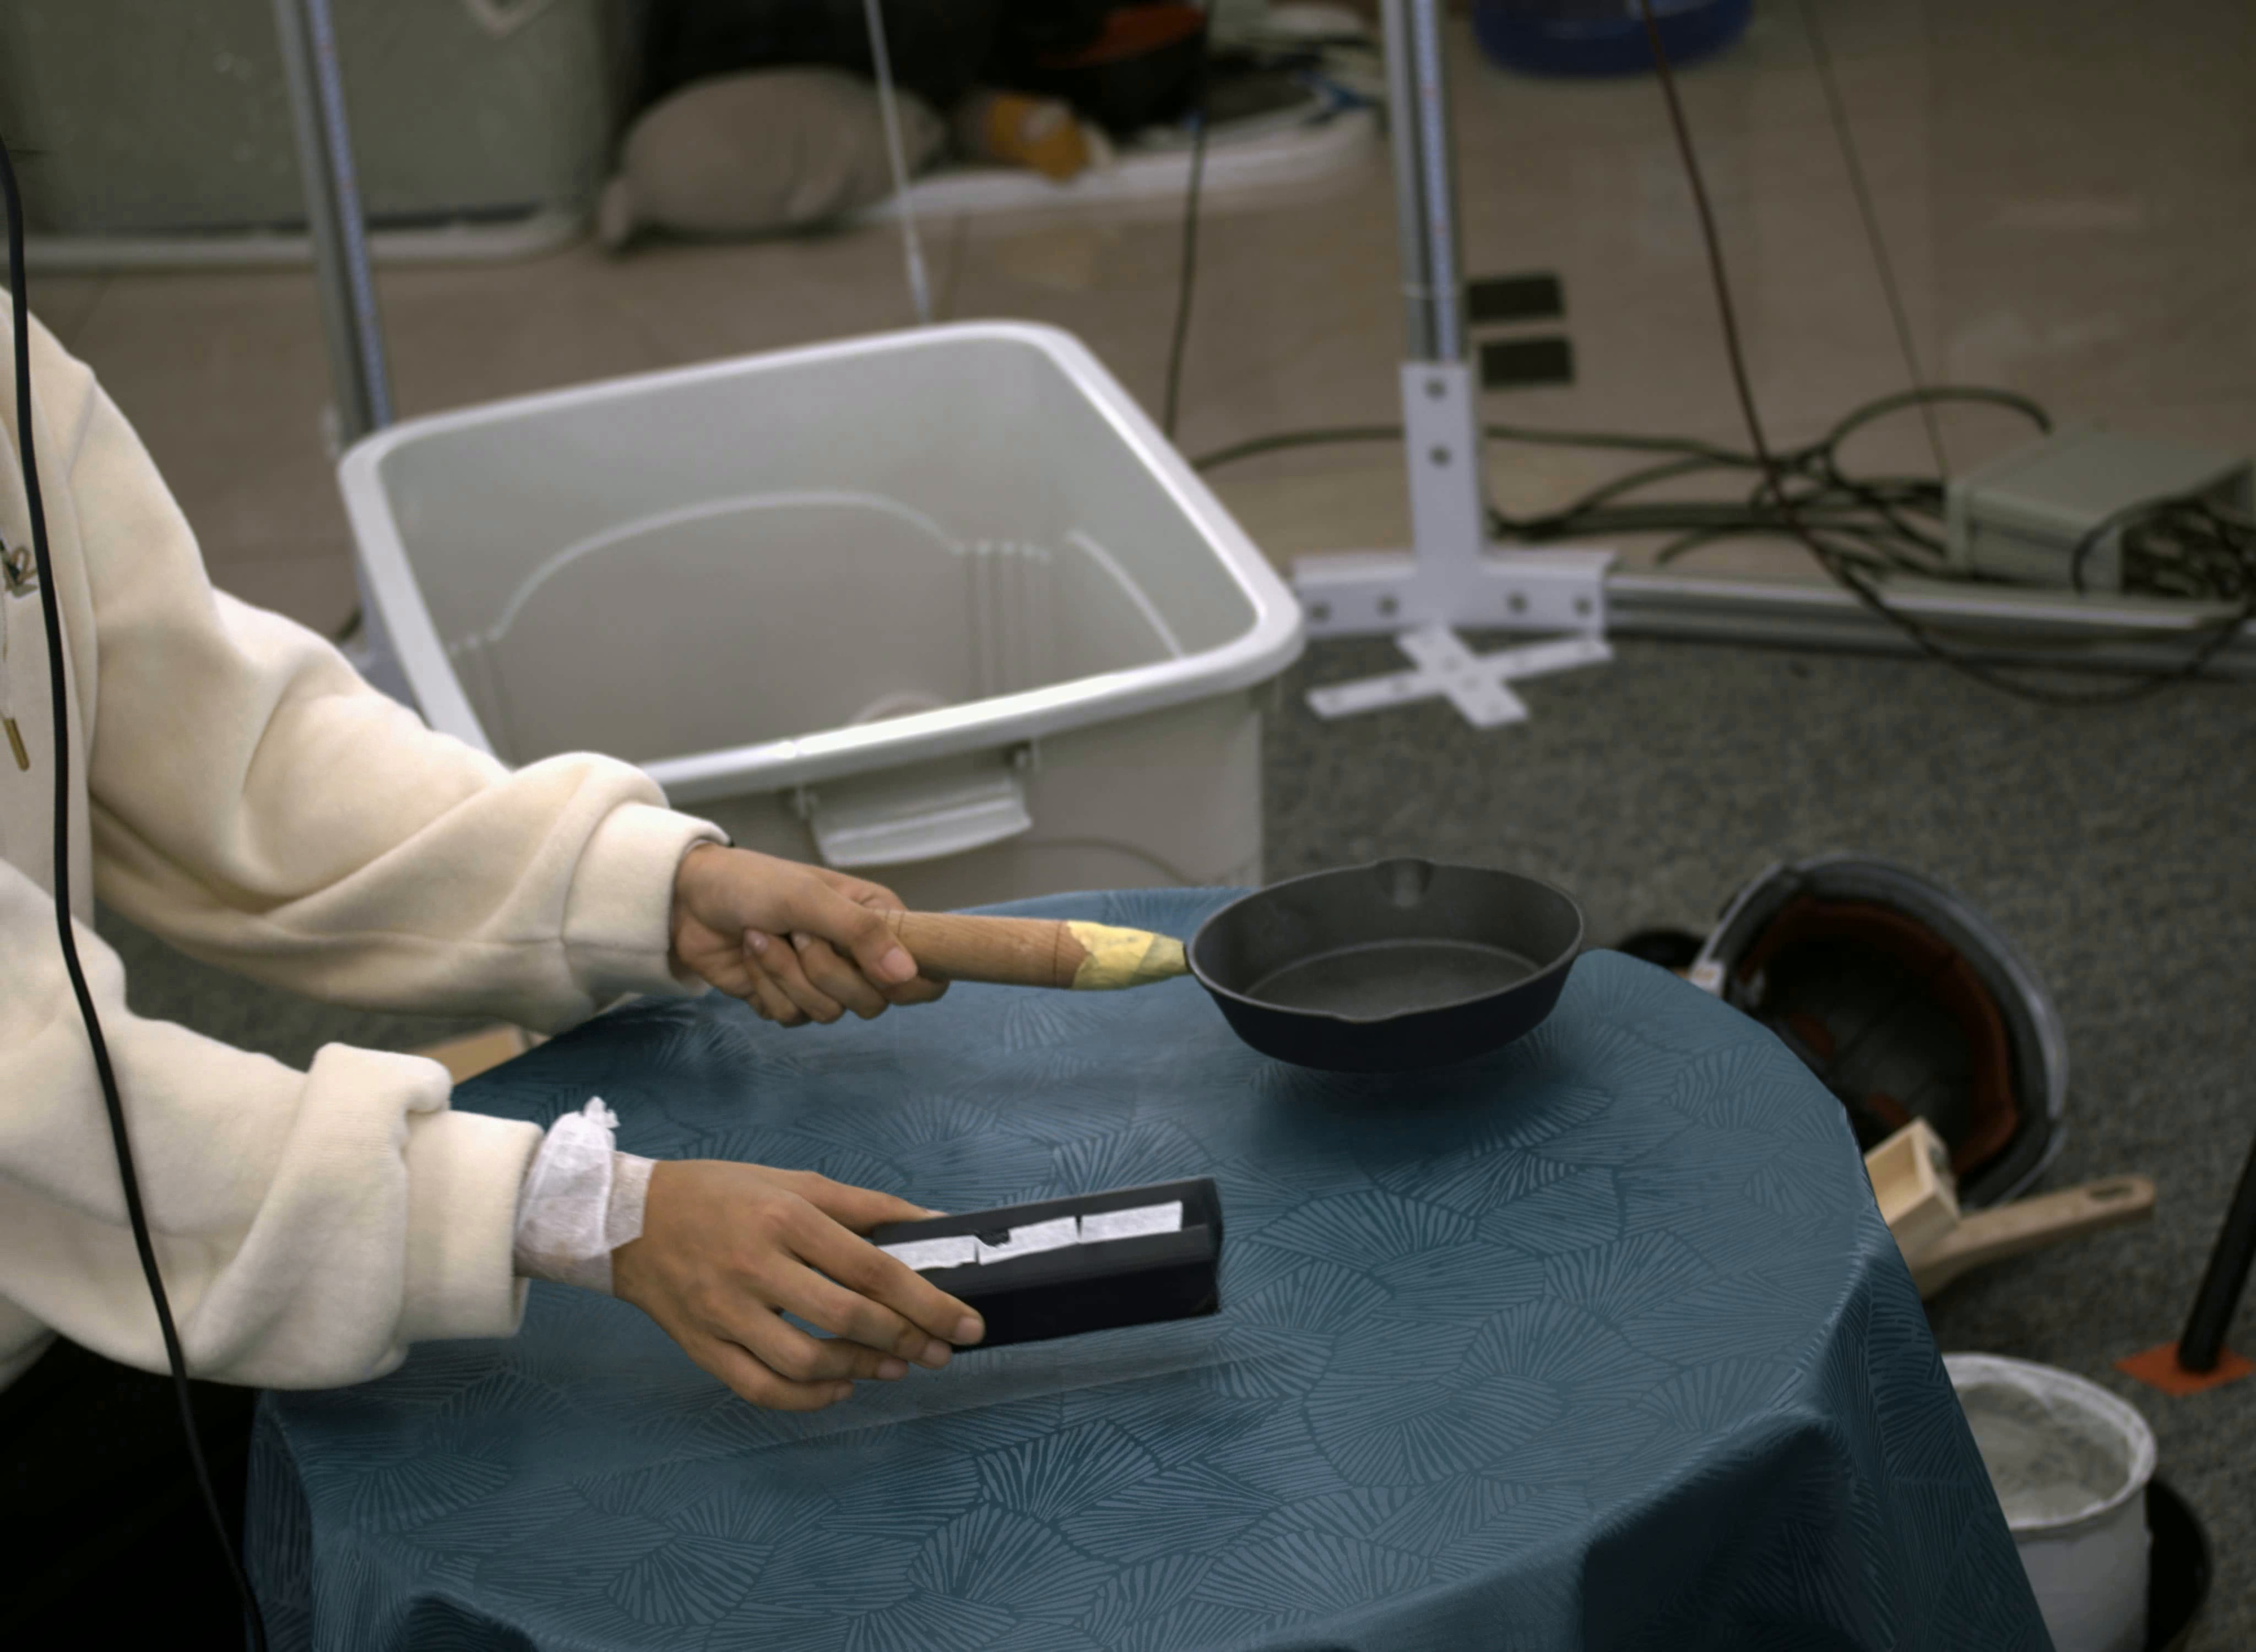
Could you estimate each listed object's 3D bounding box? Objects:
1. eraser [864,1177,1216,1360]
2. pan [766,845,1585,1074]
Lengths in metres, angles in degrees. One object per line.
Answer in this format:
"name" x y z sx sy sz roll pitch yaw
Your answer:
"eraser" -0.030 0.157 2.016 0.125 0.031 0.052 -9 32 5
"pan" 0.018 0.051 2.220 0.323 0.050 0.166 -1 23 11
